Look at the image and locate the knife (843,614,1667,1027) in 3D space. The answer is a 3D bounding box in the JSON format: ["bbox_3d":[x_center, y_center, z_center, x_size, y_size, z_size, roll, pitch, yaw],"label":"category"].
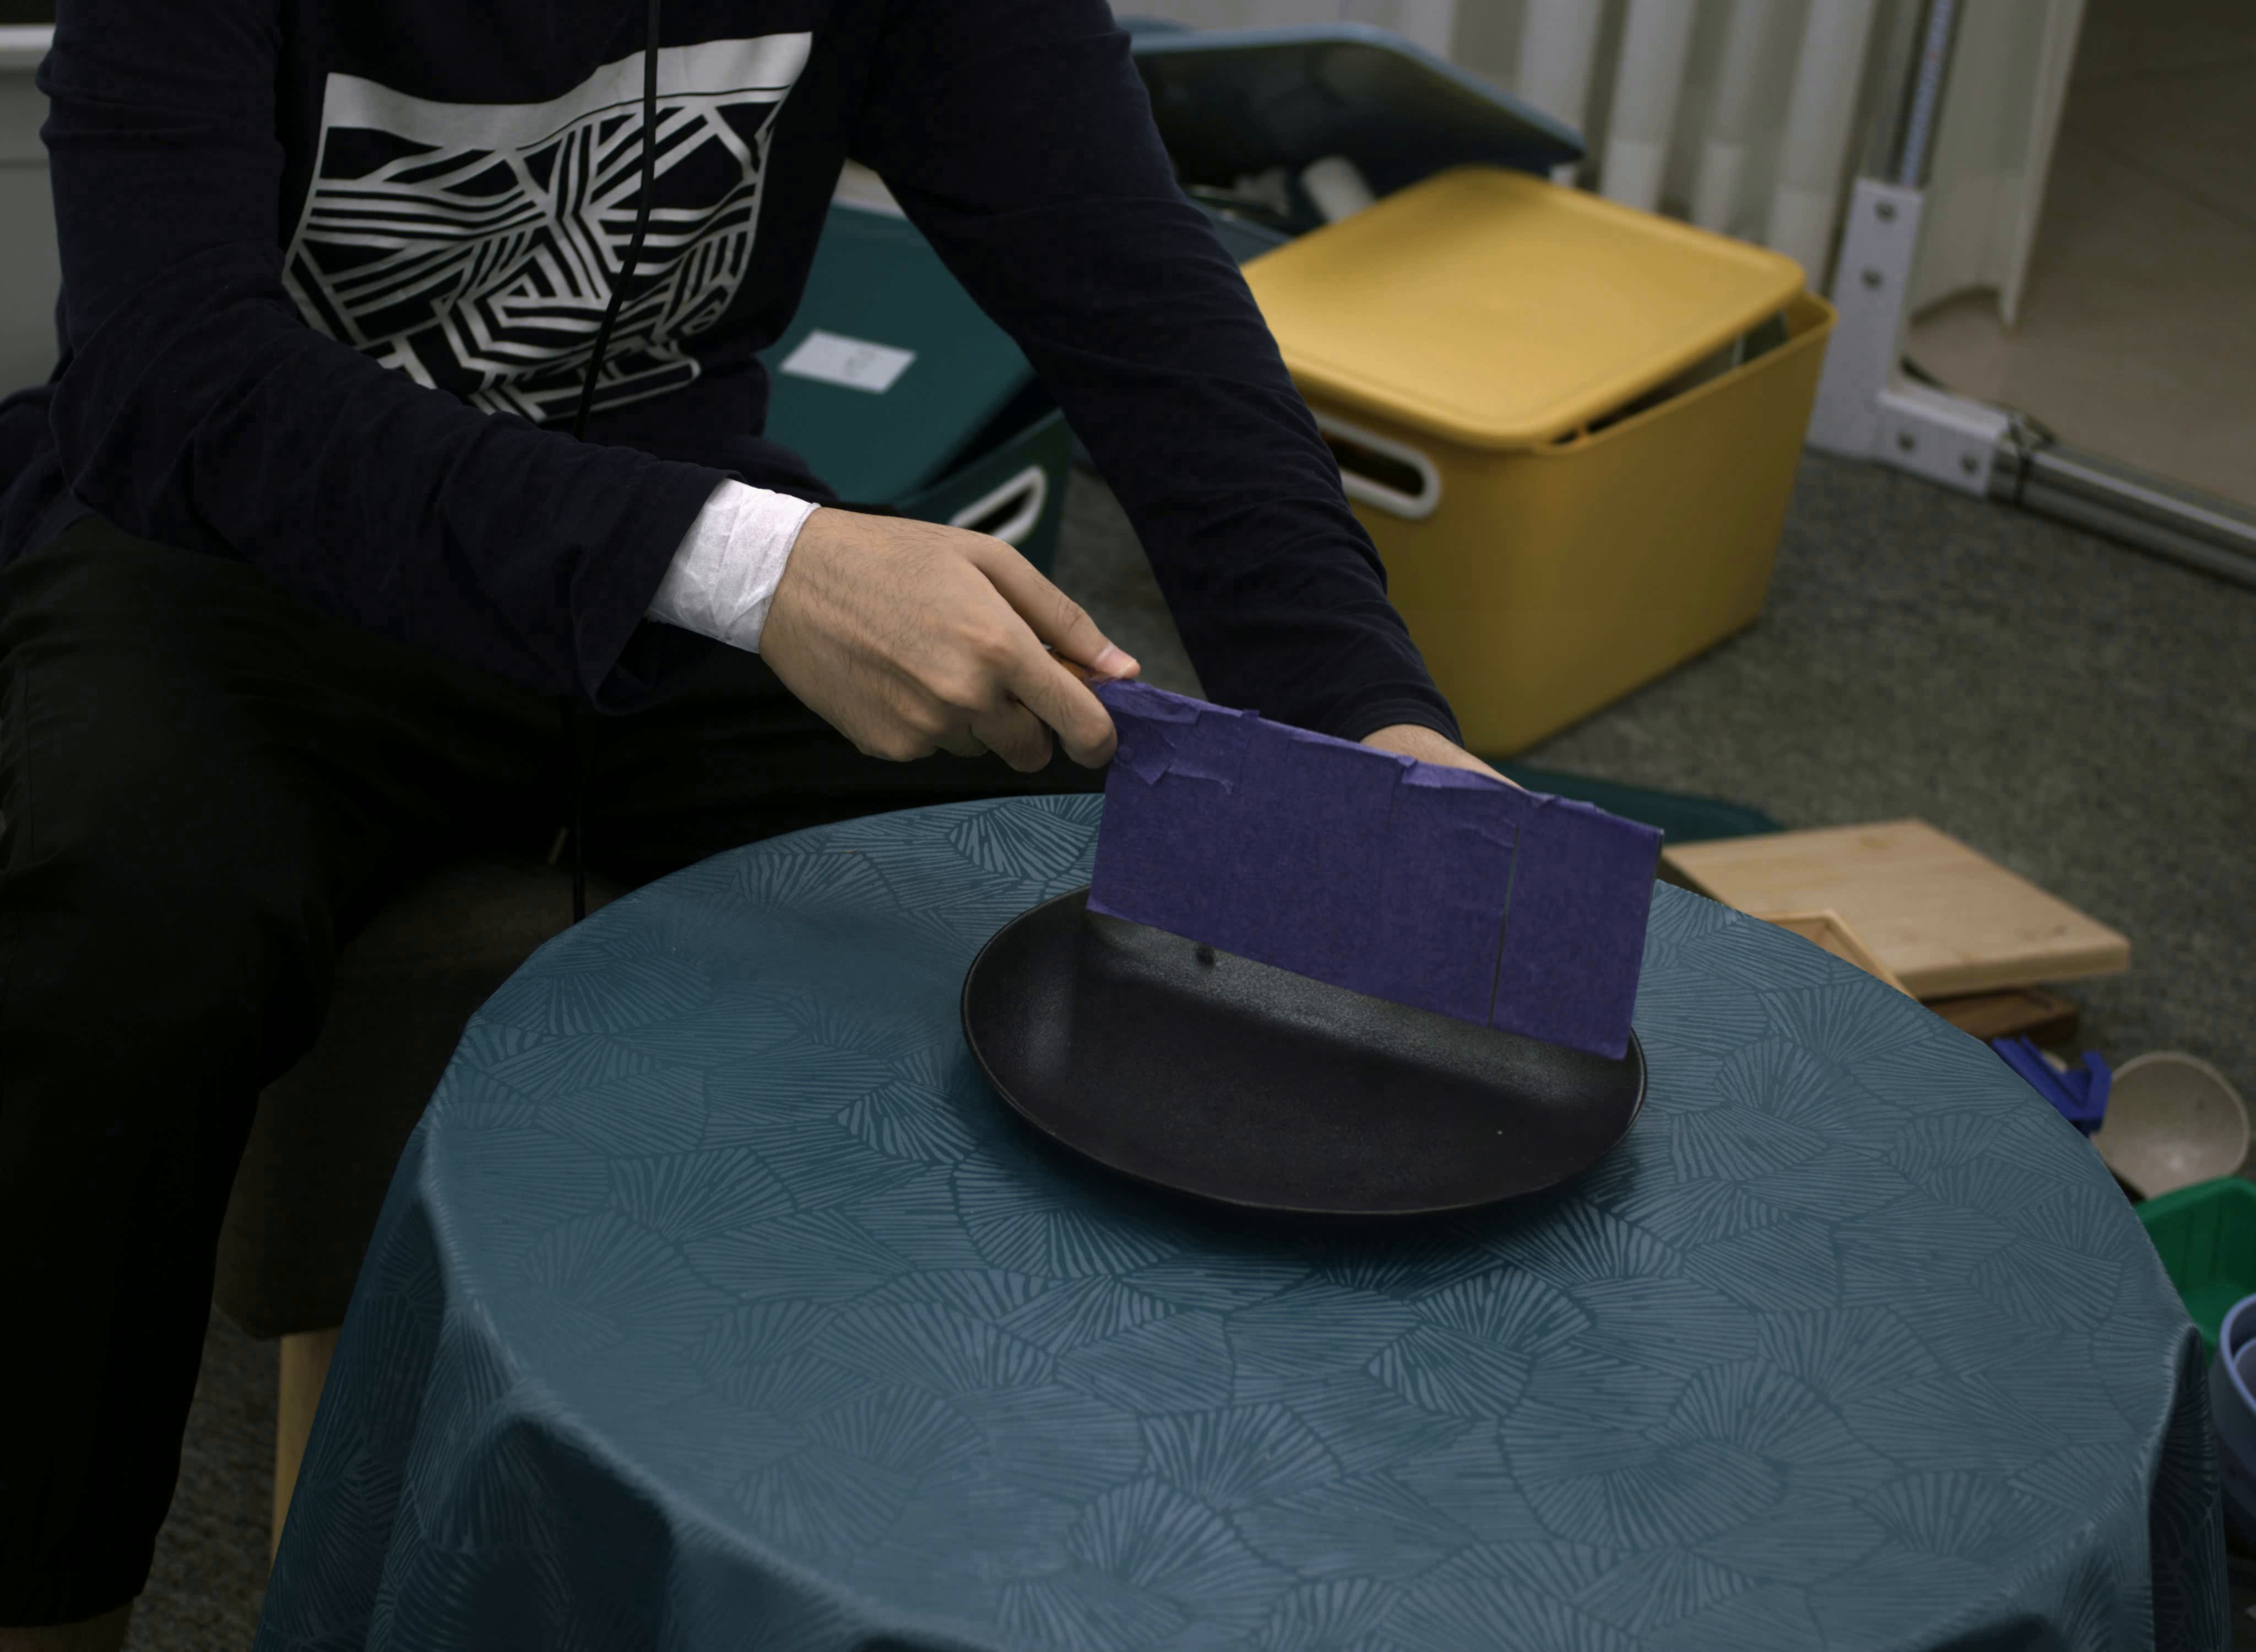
[{"bbox_3d":[0.038,0.001,1.903,0.316,0.104,0.032,15,18,22],"label":"knife"}]

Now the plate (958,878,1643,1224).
[{"bbox_3d":[0.060,0.081,1.876,0.243,0.023,0.246,5,28,-3],"label":"plate"}]
